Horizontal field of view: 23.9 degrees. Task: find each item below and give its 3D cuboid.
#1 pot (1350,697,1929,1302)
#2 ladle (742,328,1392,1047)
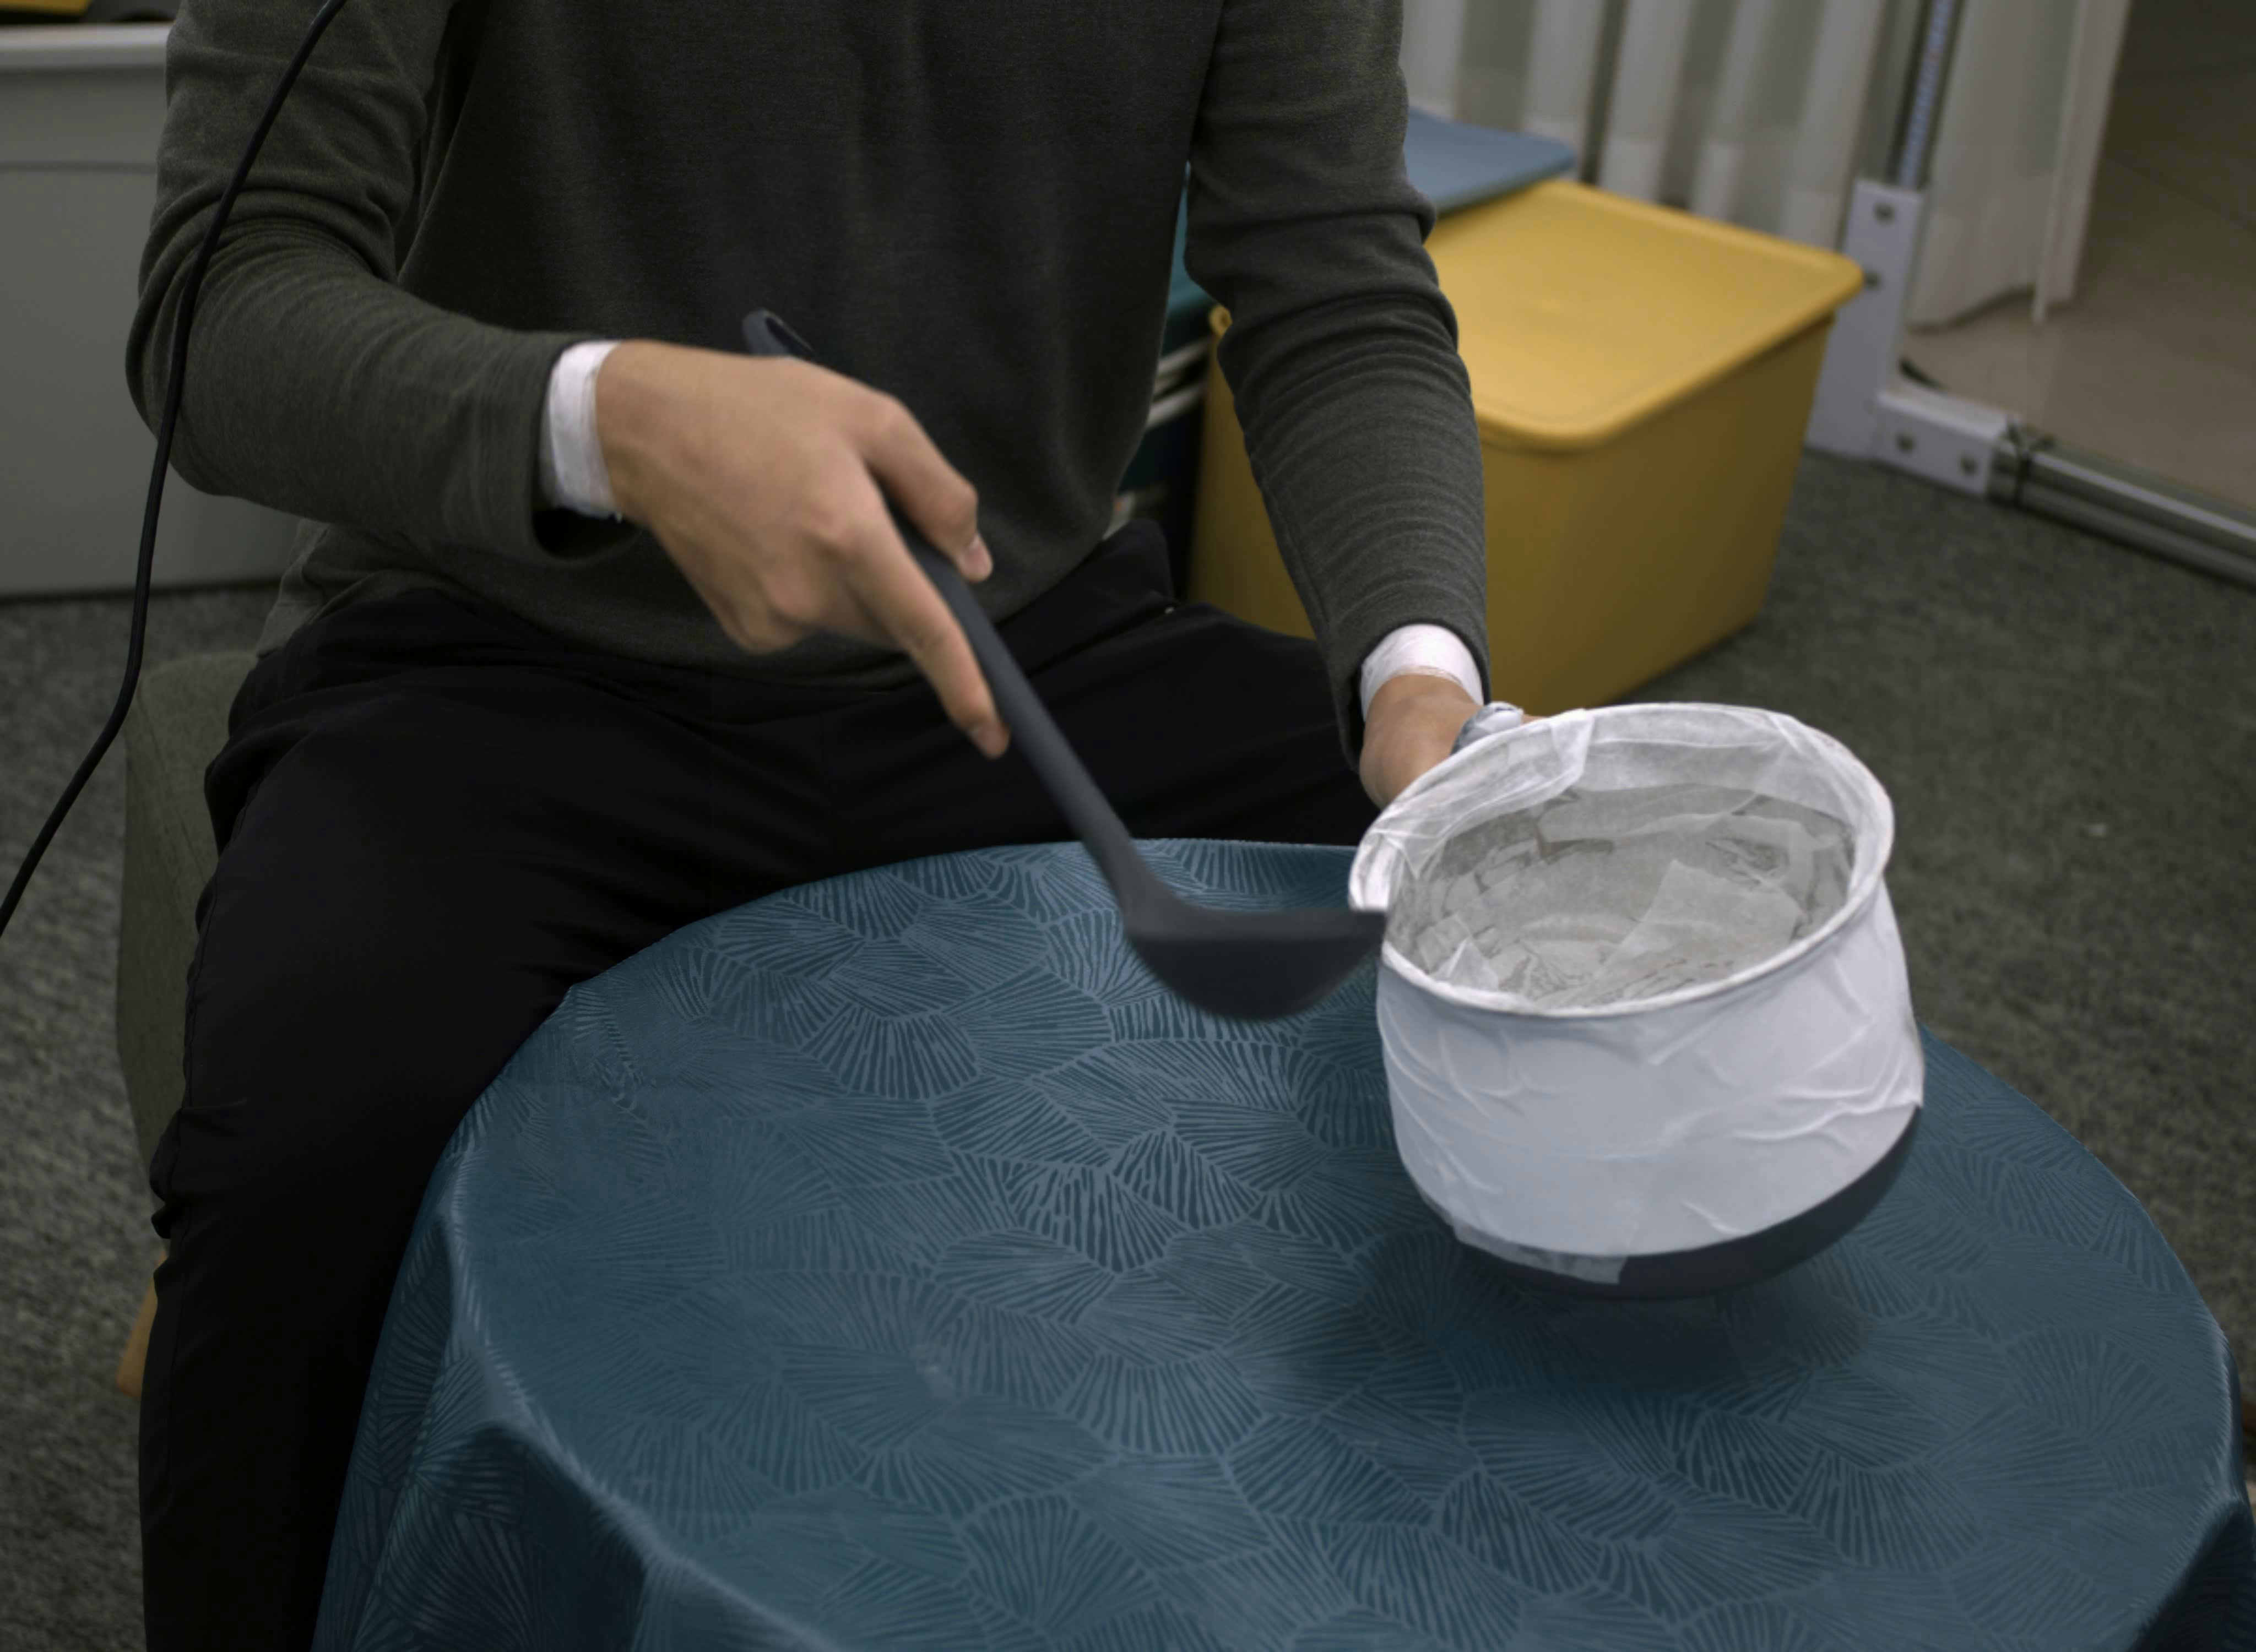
[{"bbox_3d":[0.160,0.047,1.767,0.178,0.136,0.236,-20,32,-12],"label":"pot"},{"bbox_3d":[-0.030,-0.057,1.678,0.085,0.064,0.316,-3,52,-50],"label":"ladle"}]
